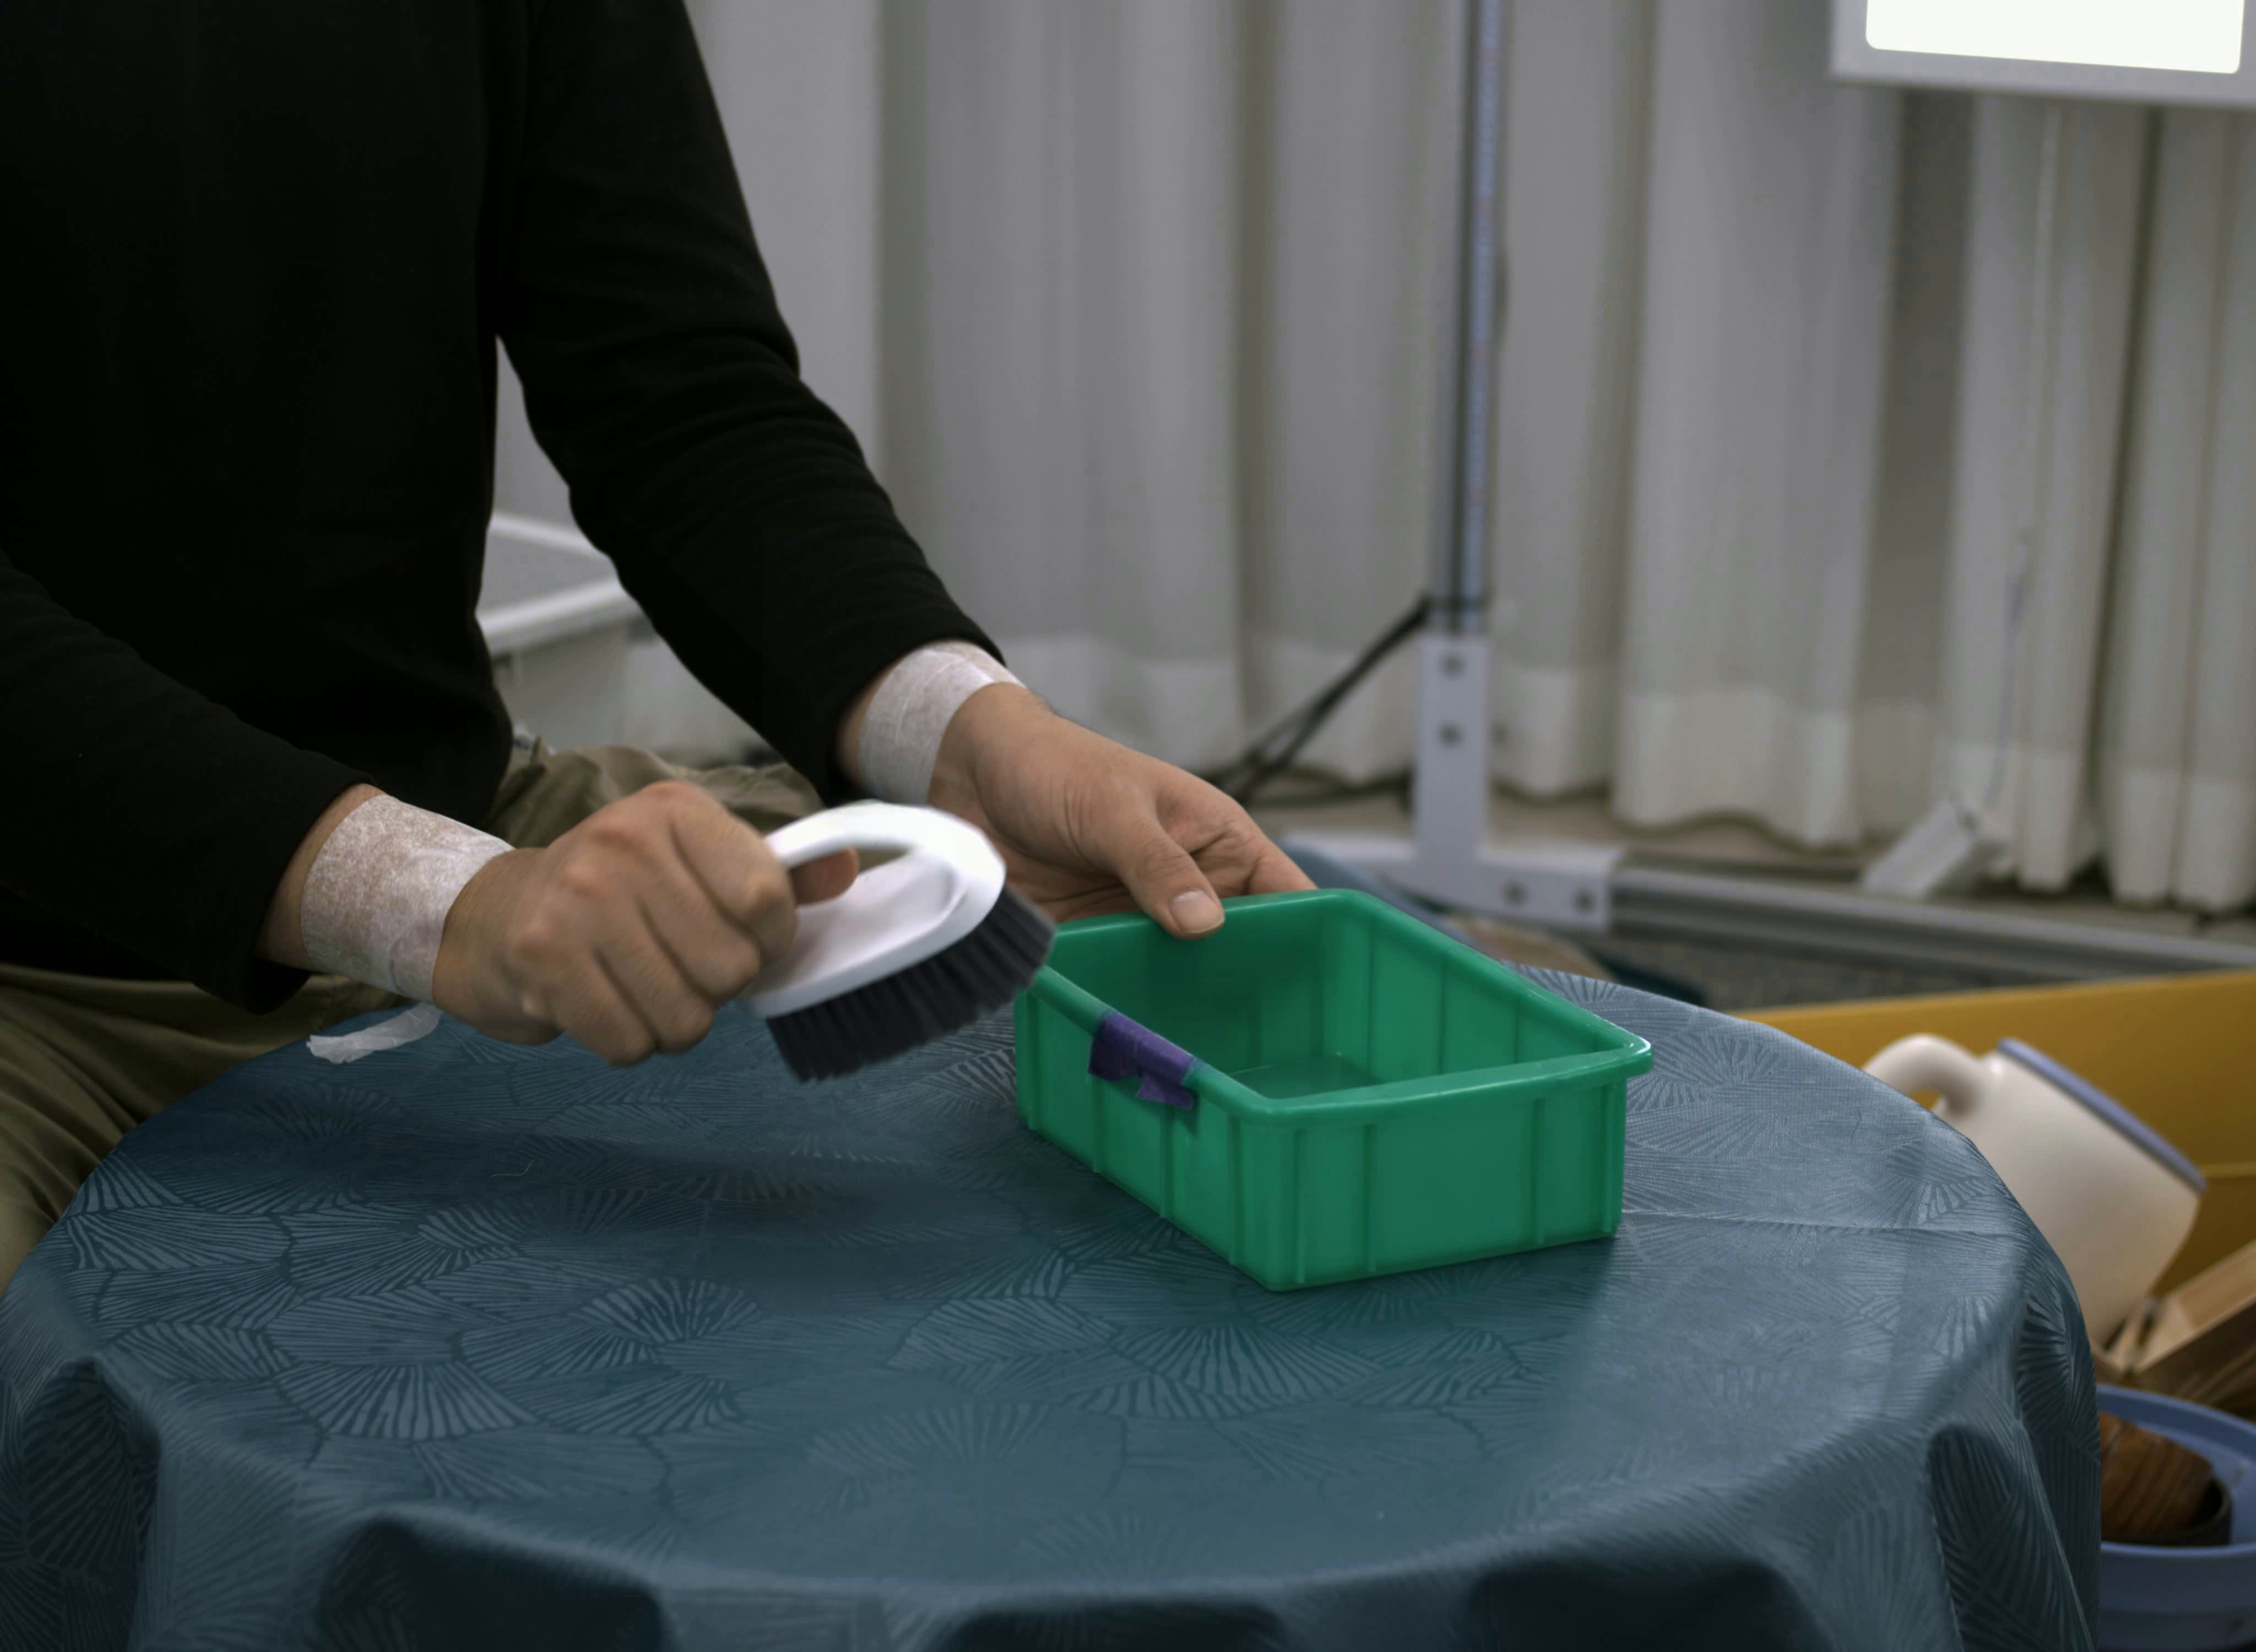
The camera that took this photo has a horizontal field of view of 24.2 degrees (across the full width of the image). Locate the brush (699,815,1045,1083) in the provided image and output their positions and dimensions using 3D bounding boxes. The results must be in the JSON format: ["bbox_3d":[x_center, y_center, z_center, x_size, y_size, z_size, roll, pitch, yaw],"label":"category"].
[{"bbox_3d":[-0.084,0.030,1.572,0.098,0.073,0.050,-19,34,32],"label":"brush"}]

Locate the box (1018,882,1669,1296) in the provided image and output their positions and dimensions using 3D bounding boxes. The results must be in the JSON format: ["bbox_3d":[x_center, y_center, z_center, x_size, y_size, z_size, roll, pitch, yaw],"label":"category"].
[{"bbox_3d":[0.059,0.079,1.623,0.139,0.066,0.208,-10,20,-27],"label":"box"}]
